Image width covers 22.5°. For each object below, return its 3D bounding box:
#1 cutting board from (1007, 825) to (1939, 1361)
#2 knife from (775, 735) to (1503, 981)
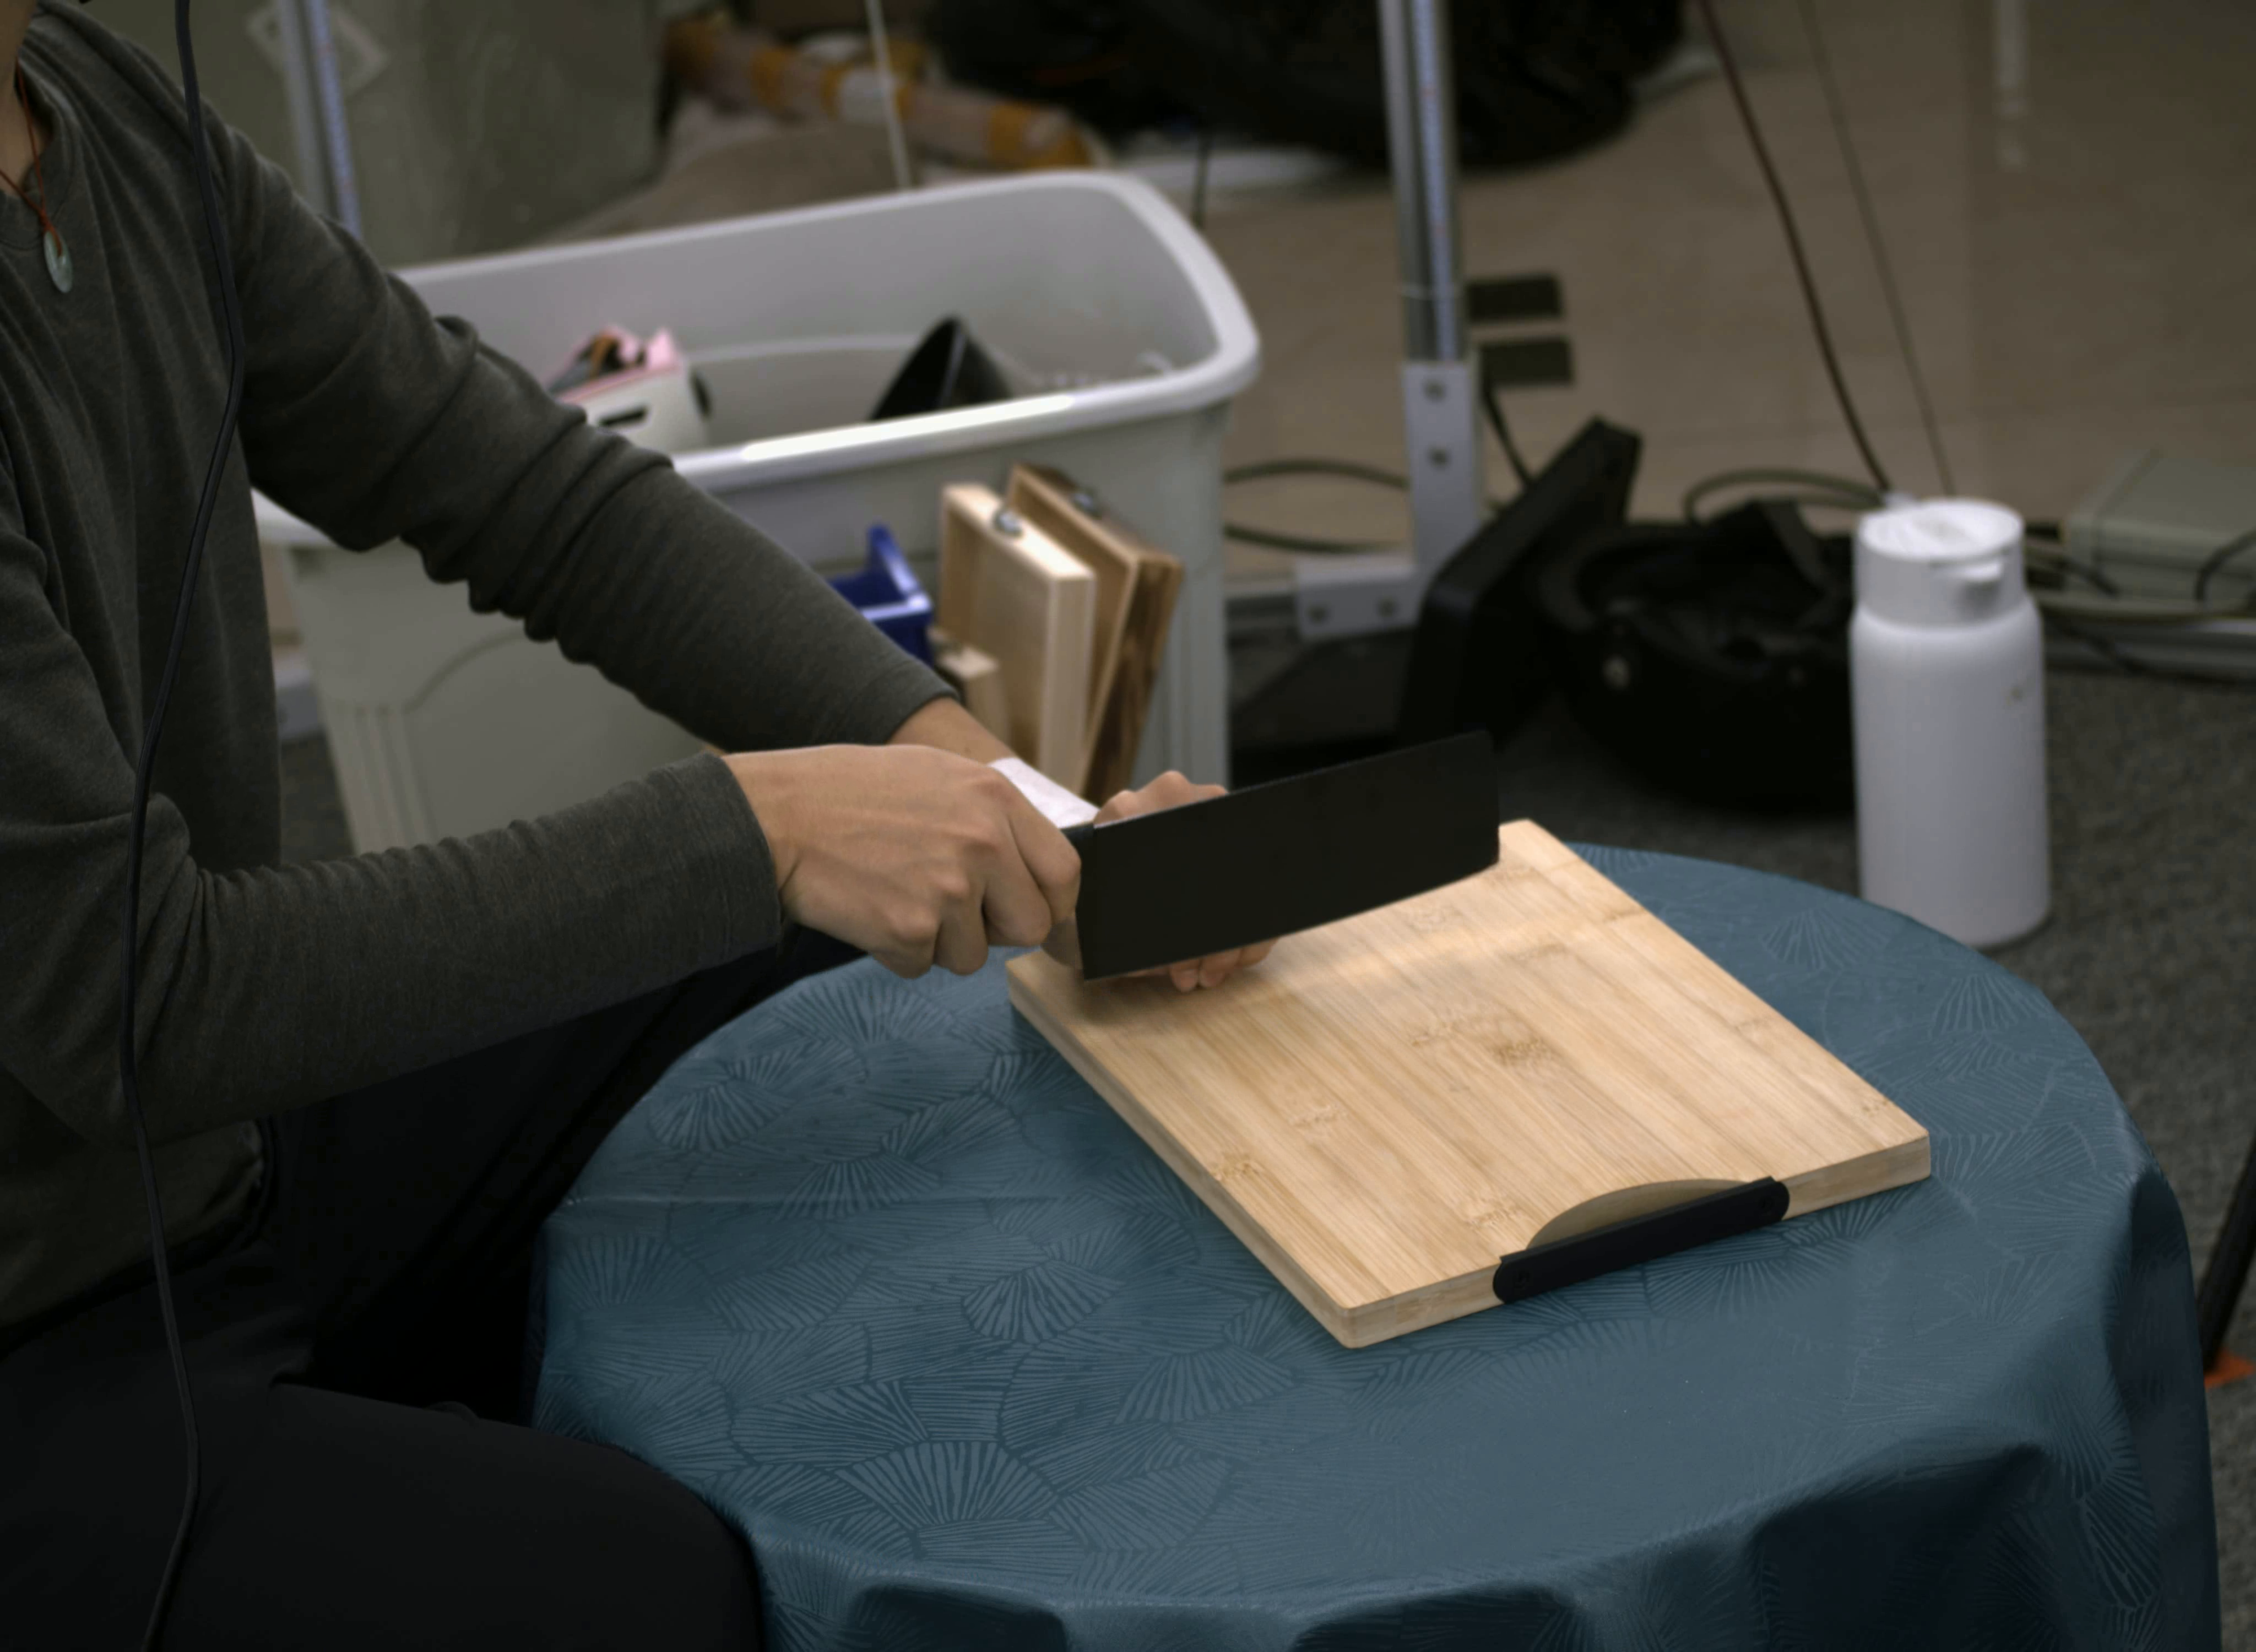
[{"bbox_3d":[0.125,0.095,2.197,0.250,0.024,0.344,-16,26,-18],"label":"cutting board"},{"bbox_3d":[0.007,0.022,2.212,0.301,0.082,0.020,-9,25,-17],"label":"knife"}]
